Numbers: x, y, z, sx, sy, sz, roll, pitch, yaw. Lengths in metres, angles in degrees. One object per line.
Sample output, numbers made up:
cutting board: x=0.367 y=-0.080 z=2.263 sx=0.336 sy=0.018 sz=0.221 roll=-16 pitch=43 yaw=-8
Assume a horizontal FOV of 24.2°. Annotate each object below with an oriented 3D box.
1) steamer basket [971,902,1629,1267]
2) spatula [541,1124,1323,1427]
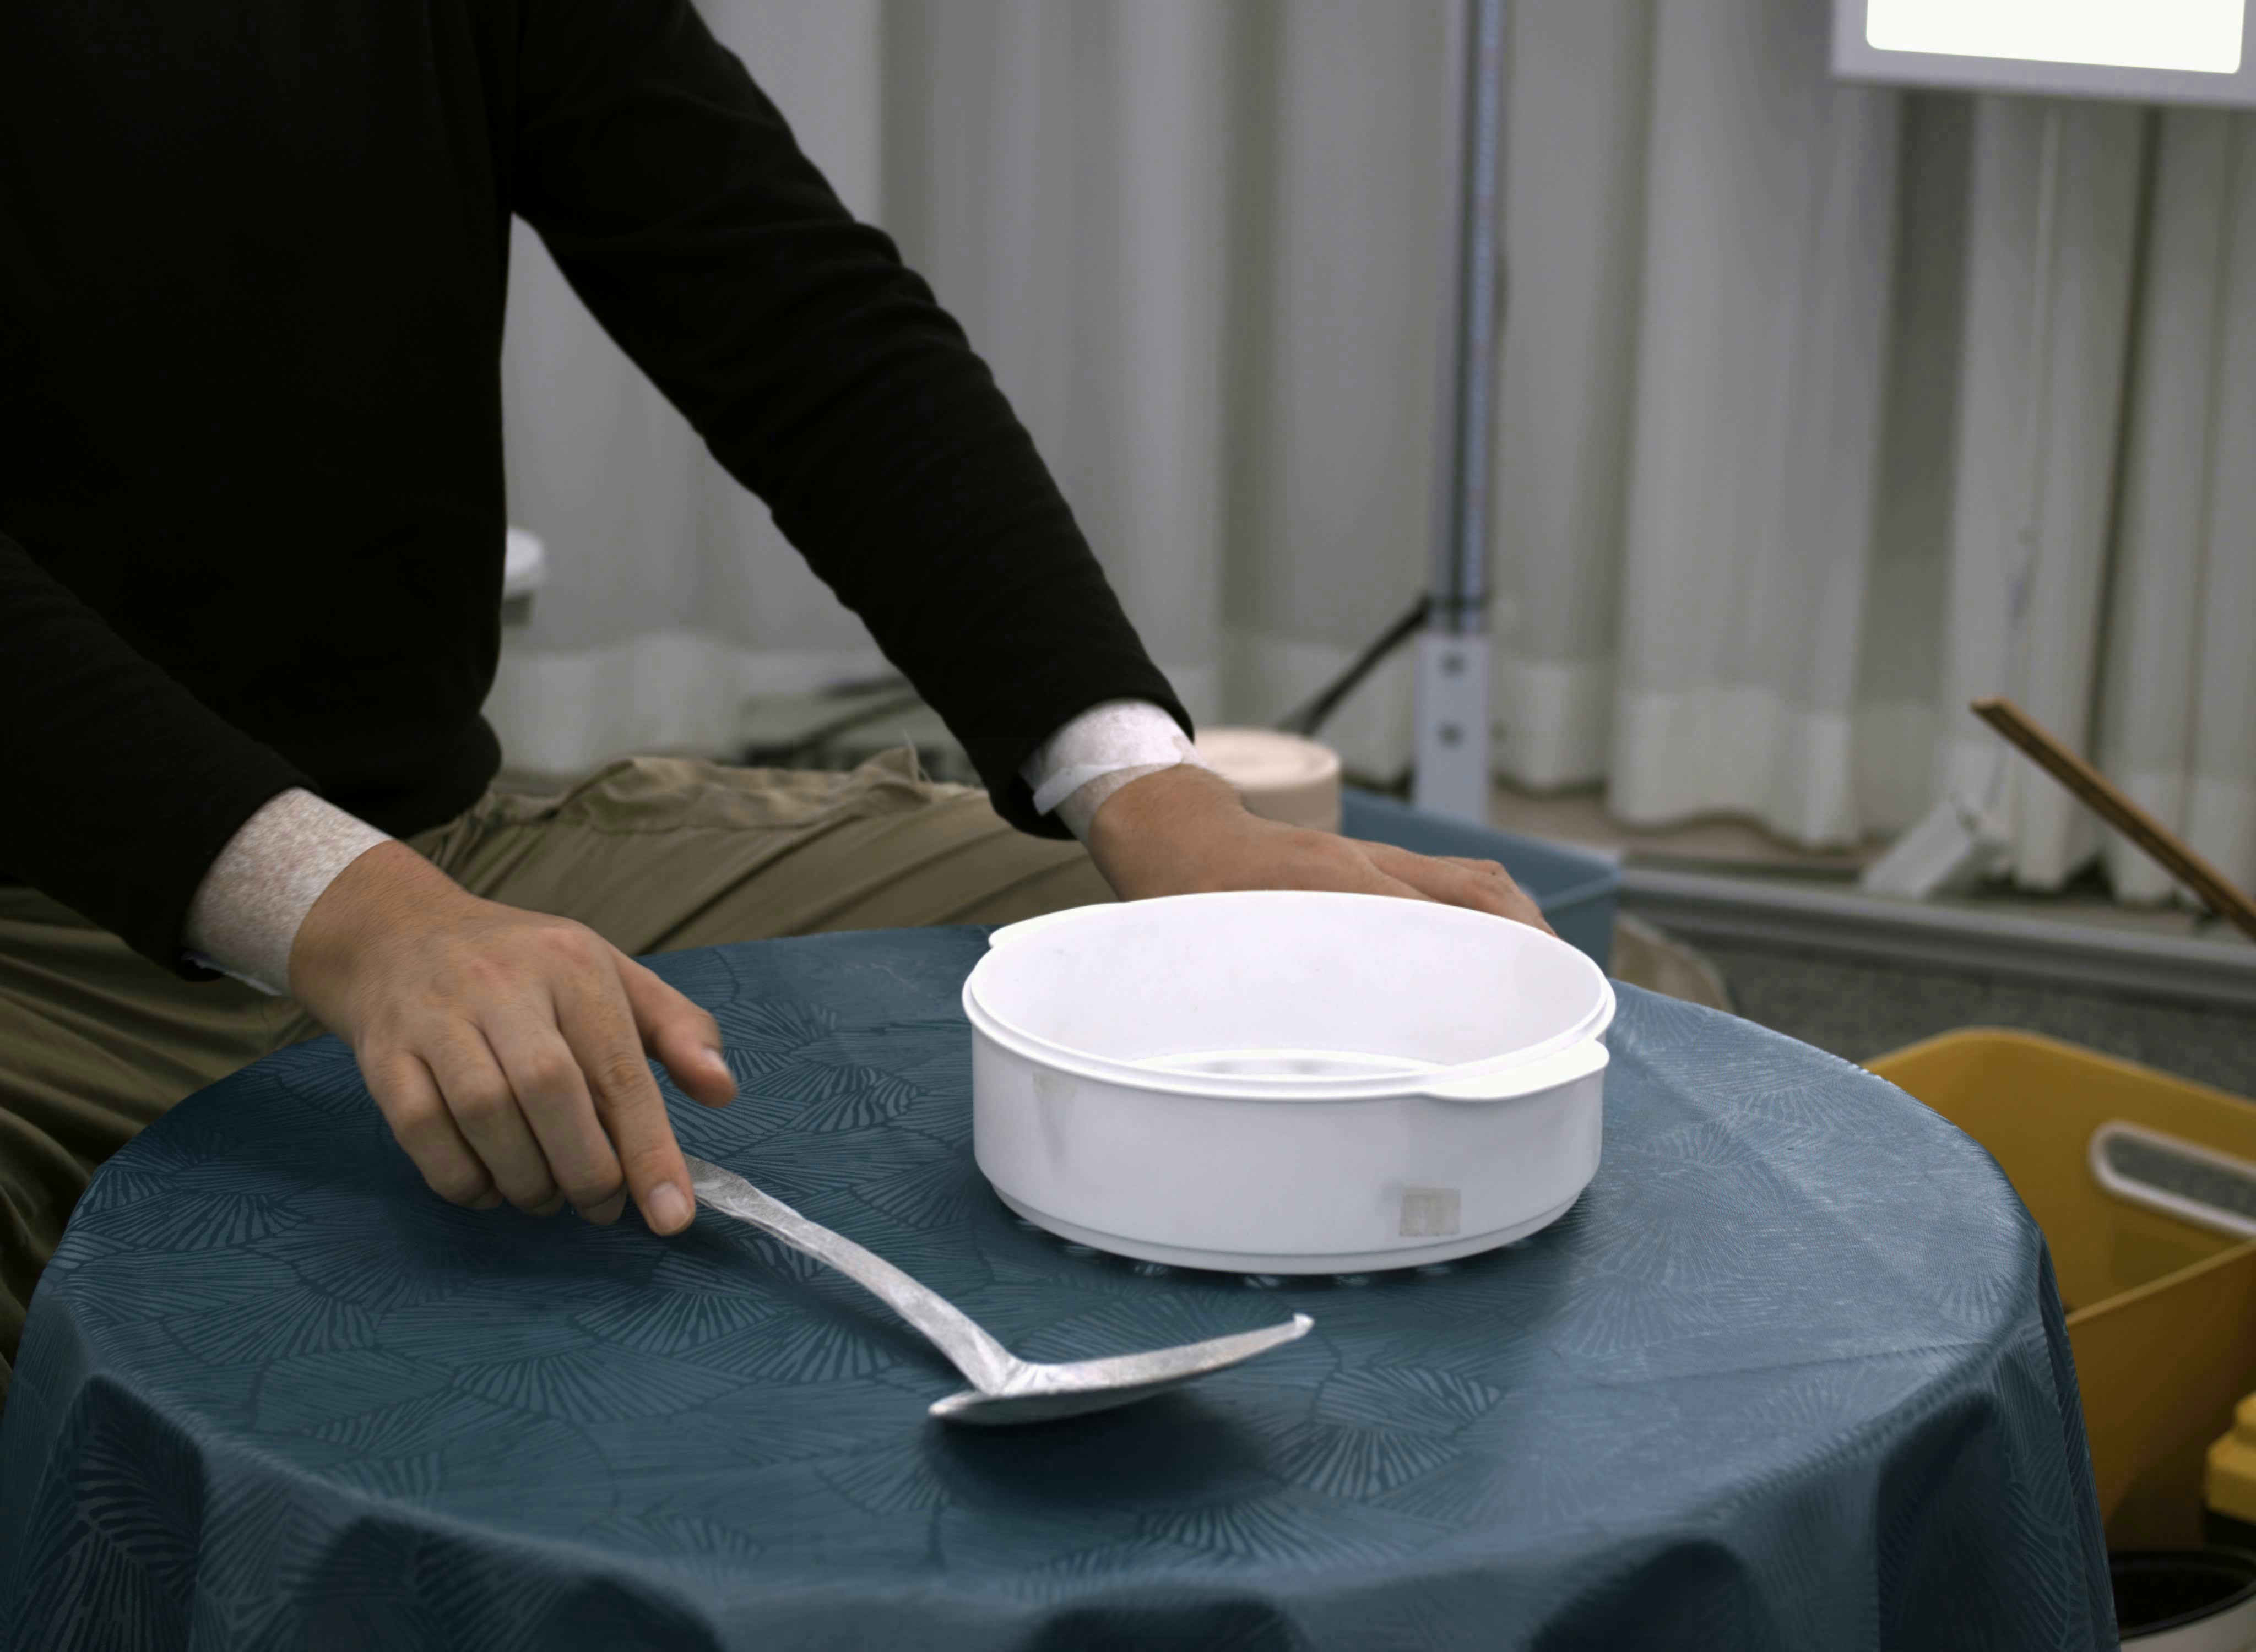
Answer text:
steamer basket: x=0.052 y=0.079 z=1.613 sx=0.203 sy=0.070 sz=0.227 roll=-12 pitch=18 yaw=-41
spatula: x=-0.082 y=0.120 z=1.522 sx=0.099 sy=0.045 sz=0.360 roll=-13 pitch=20 yaw=-34
